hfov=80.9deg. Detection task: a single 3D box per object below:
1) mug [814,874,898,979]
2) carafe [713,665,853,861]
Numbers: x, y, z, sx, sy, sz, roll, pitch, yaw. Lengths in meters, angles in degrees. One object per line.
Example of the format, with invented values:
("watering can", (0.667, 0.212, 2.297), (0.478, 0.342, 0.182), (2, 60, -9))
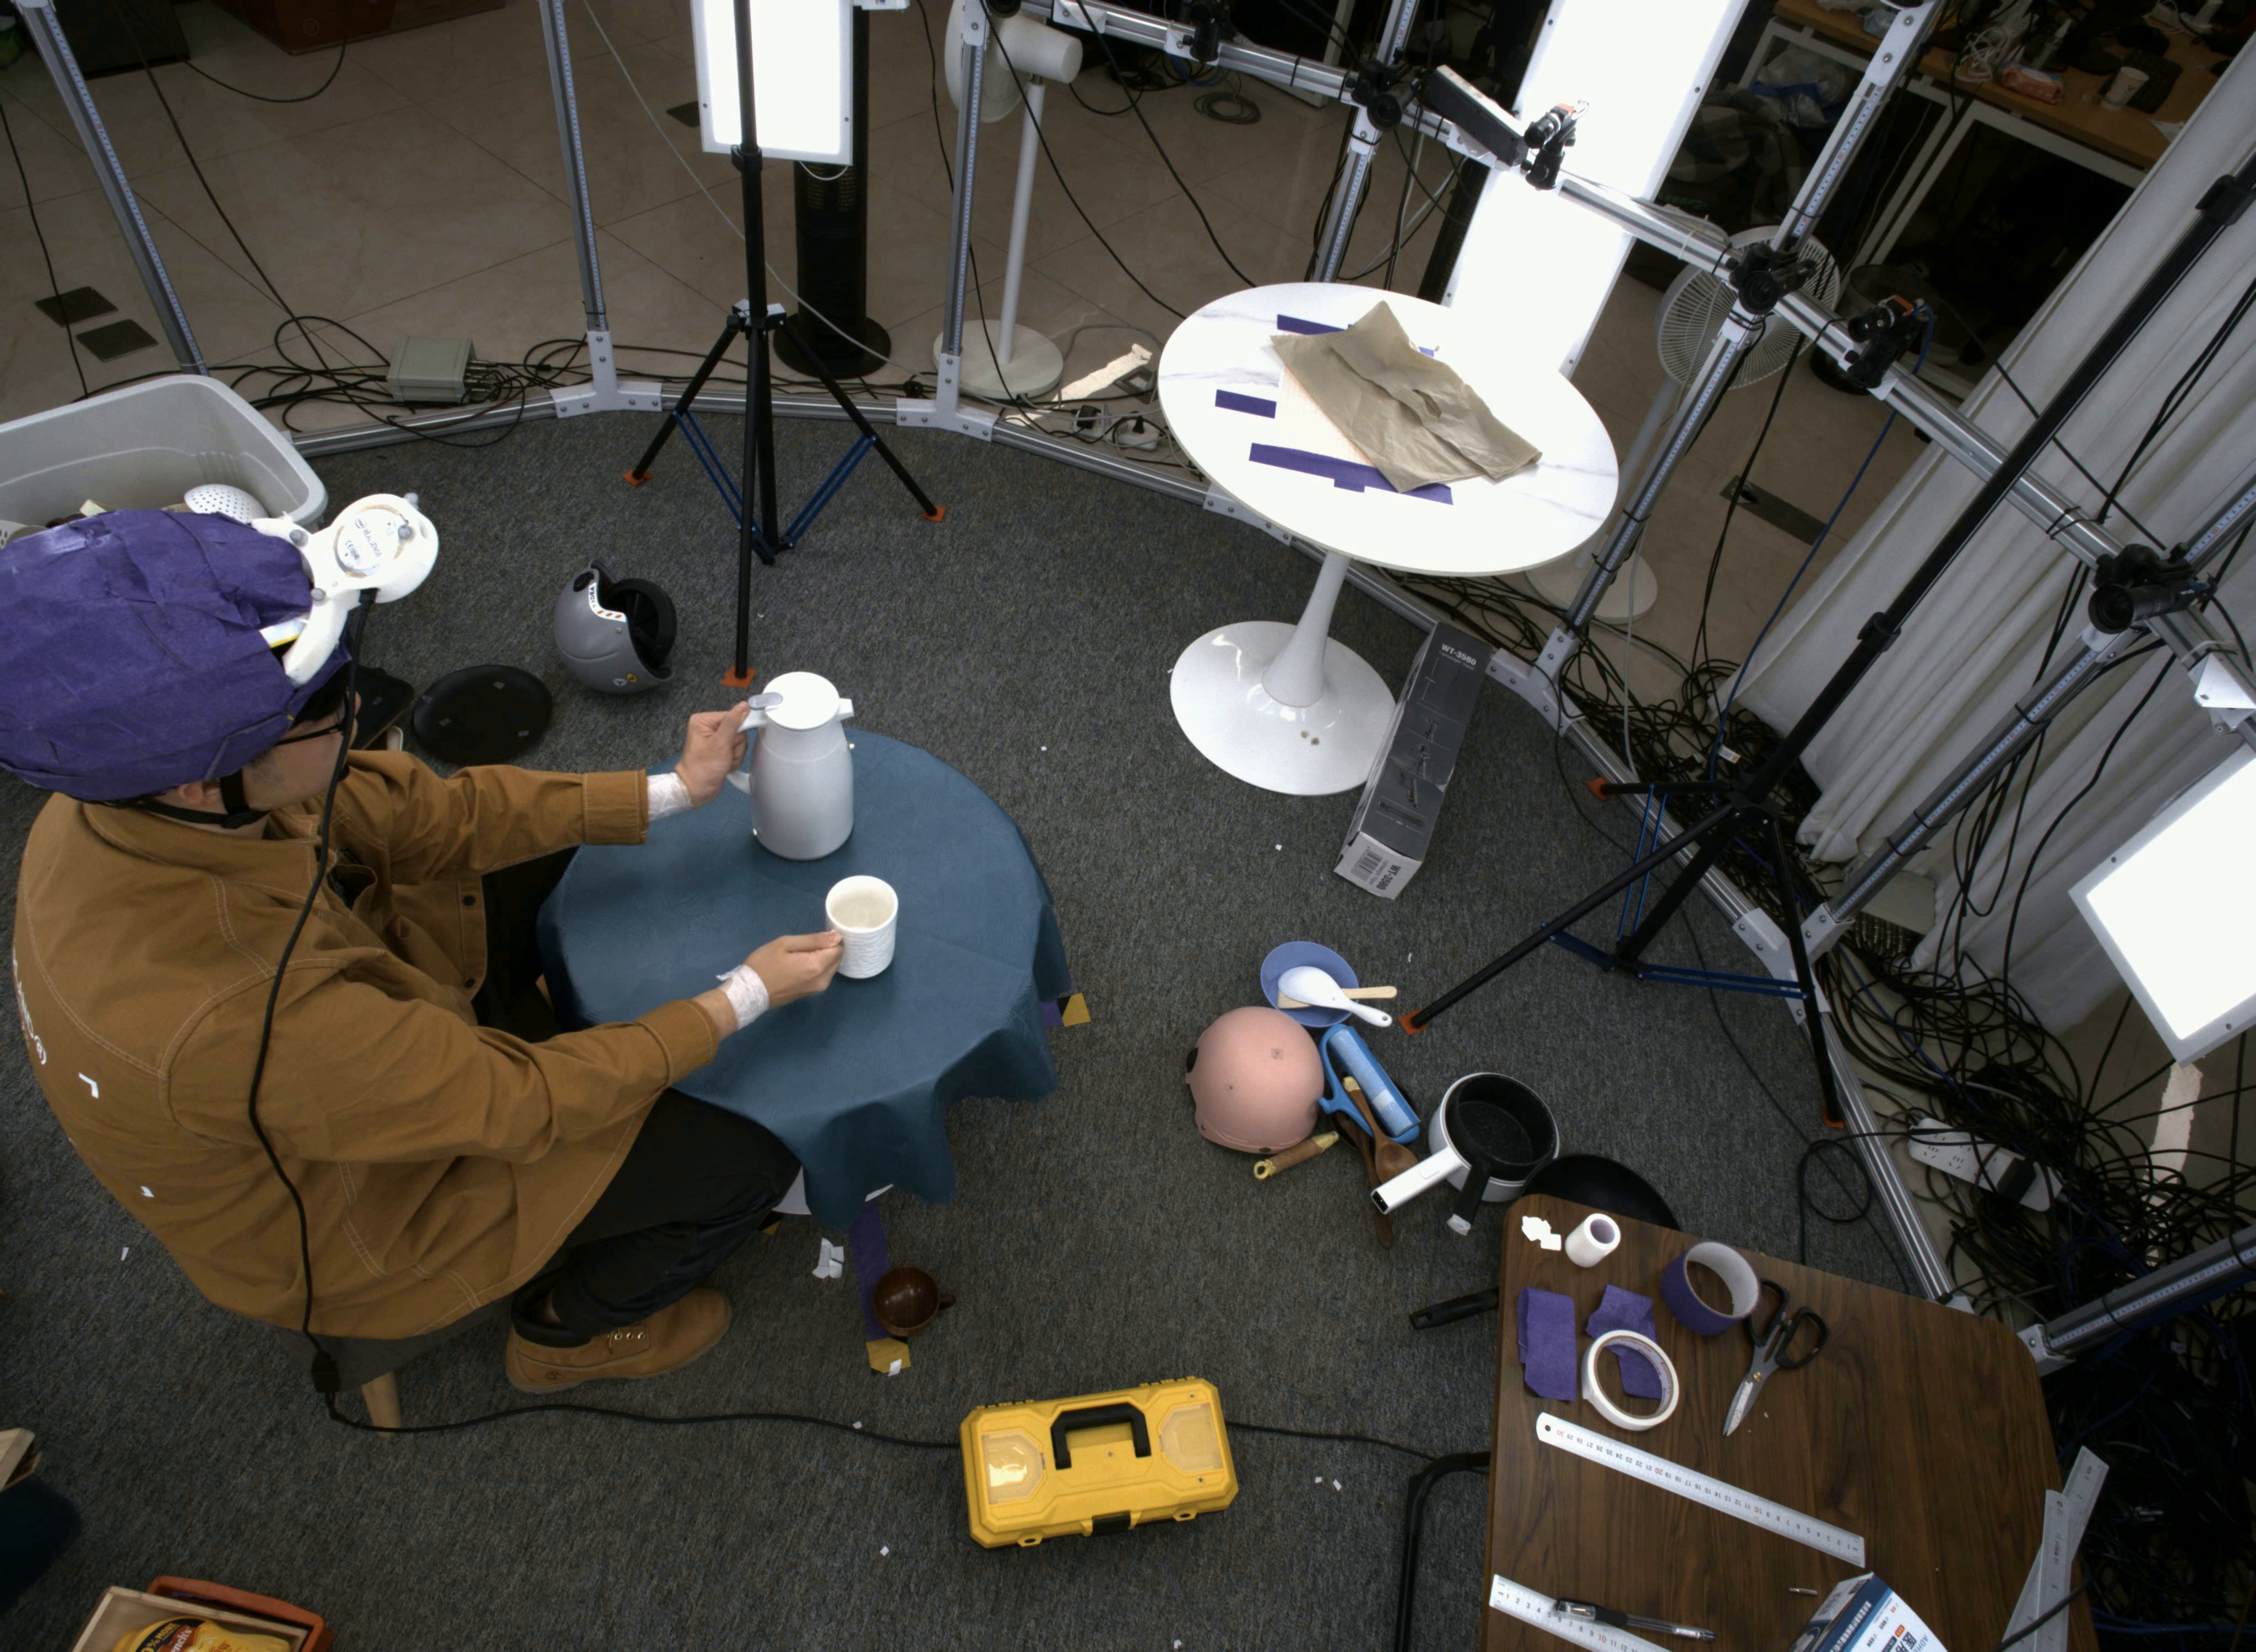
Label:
("mug", (-0.333, 0.131, 1.567), (0.083, 0.104, 0.118), (32, 49, 15))
("carafe", (-0.429, -0.082, 1.615), (0.168, 0.254, 0.129), (-7, 55, -17))
